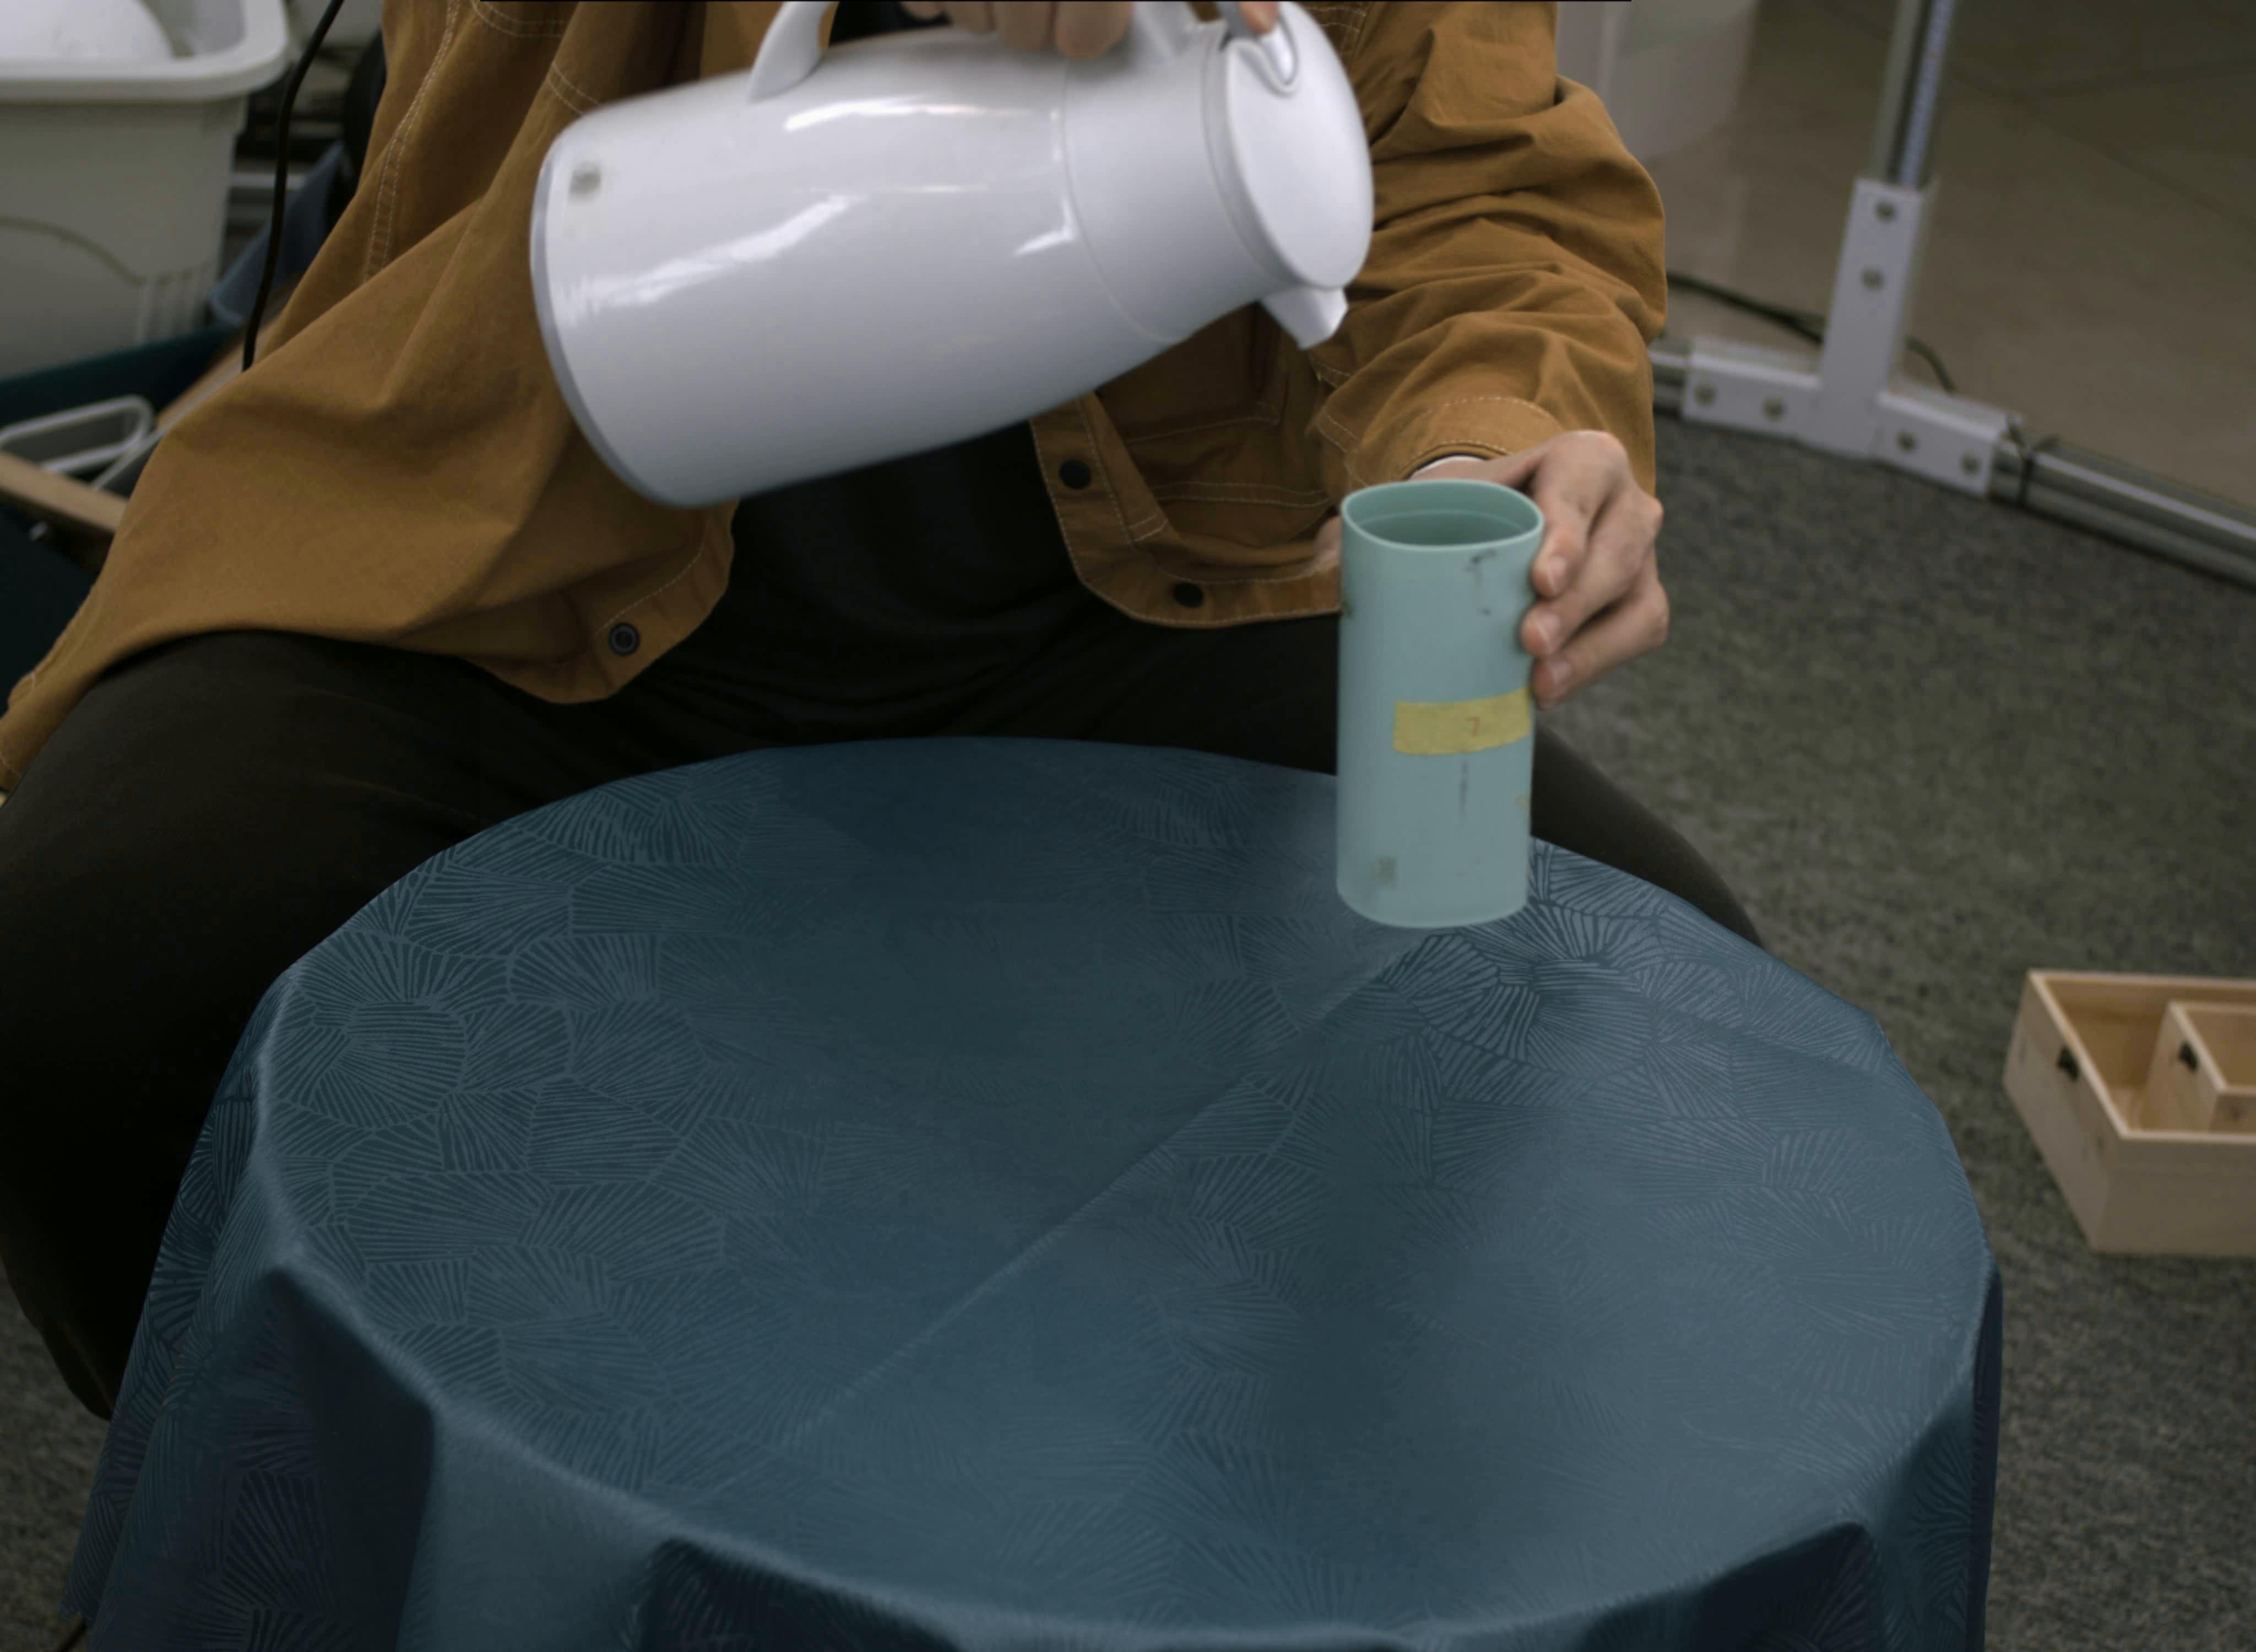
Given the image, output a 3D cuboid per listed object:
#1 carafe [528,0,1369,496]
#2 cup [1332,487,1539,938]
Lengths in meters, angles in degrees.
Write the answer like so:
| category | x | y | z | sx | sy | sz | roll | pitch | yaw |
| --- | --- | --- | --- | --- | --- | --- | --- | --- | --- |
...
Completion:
| category | x | y | z | sx | sy | sz | roll | pitch | yaw |
| --- | --- | --- | --- | --- | --- | --- | --- | --- | --- |
| carafe | -0.057 | -0.204 | 1.650 | 0.249 | 0.166 | 0.133 | -10 | 31 | 29 |
| cup | 0.097 | -0.037 | 1.698 | 0.066 | 0.132 | 0.067 | 0 | 22 | 0 |
